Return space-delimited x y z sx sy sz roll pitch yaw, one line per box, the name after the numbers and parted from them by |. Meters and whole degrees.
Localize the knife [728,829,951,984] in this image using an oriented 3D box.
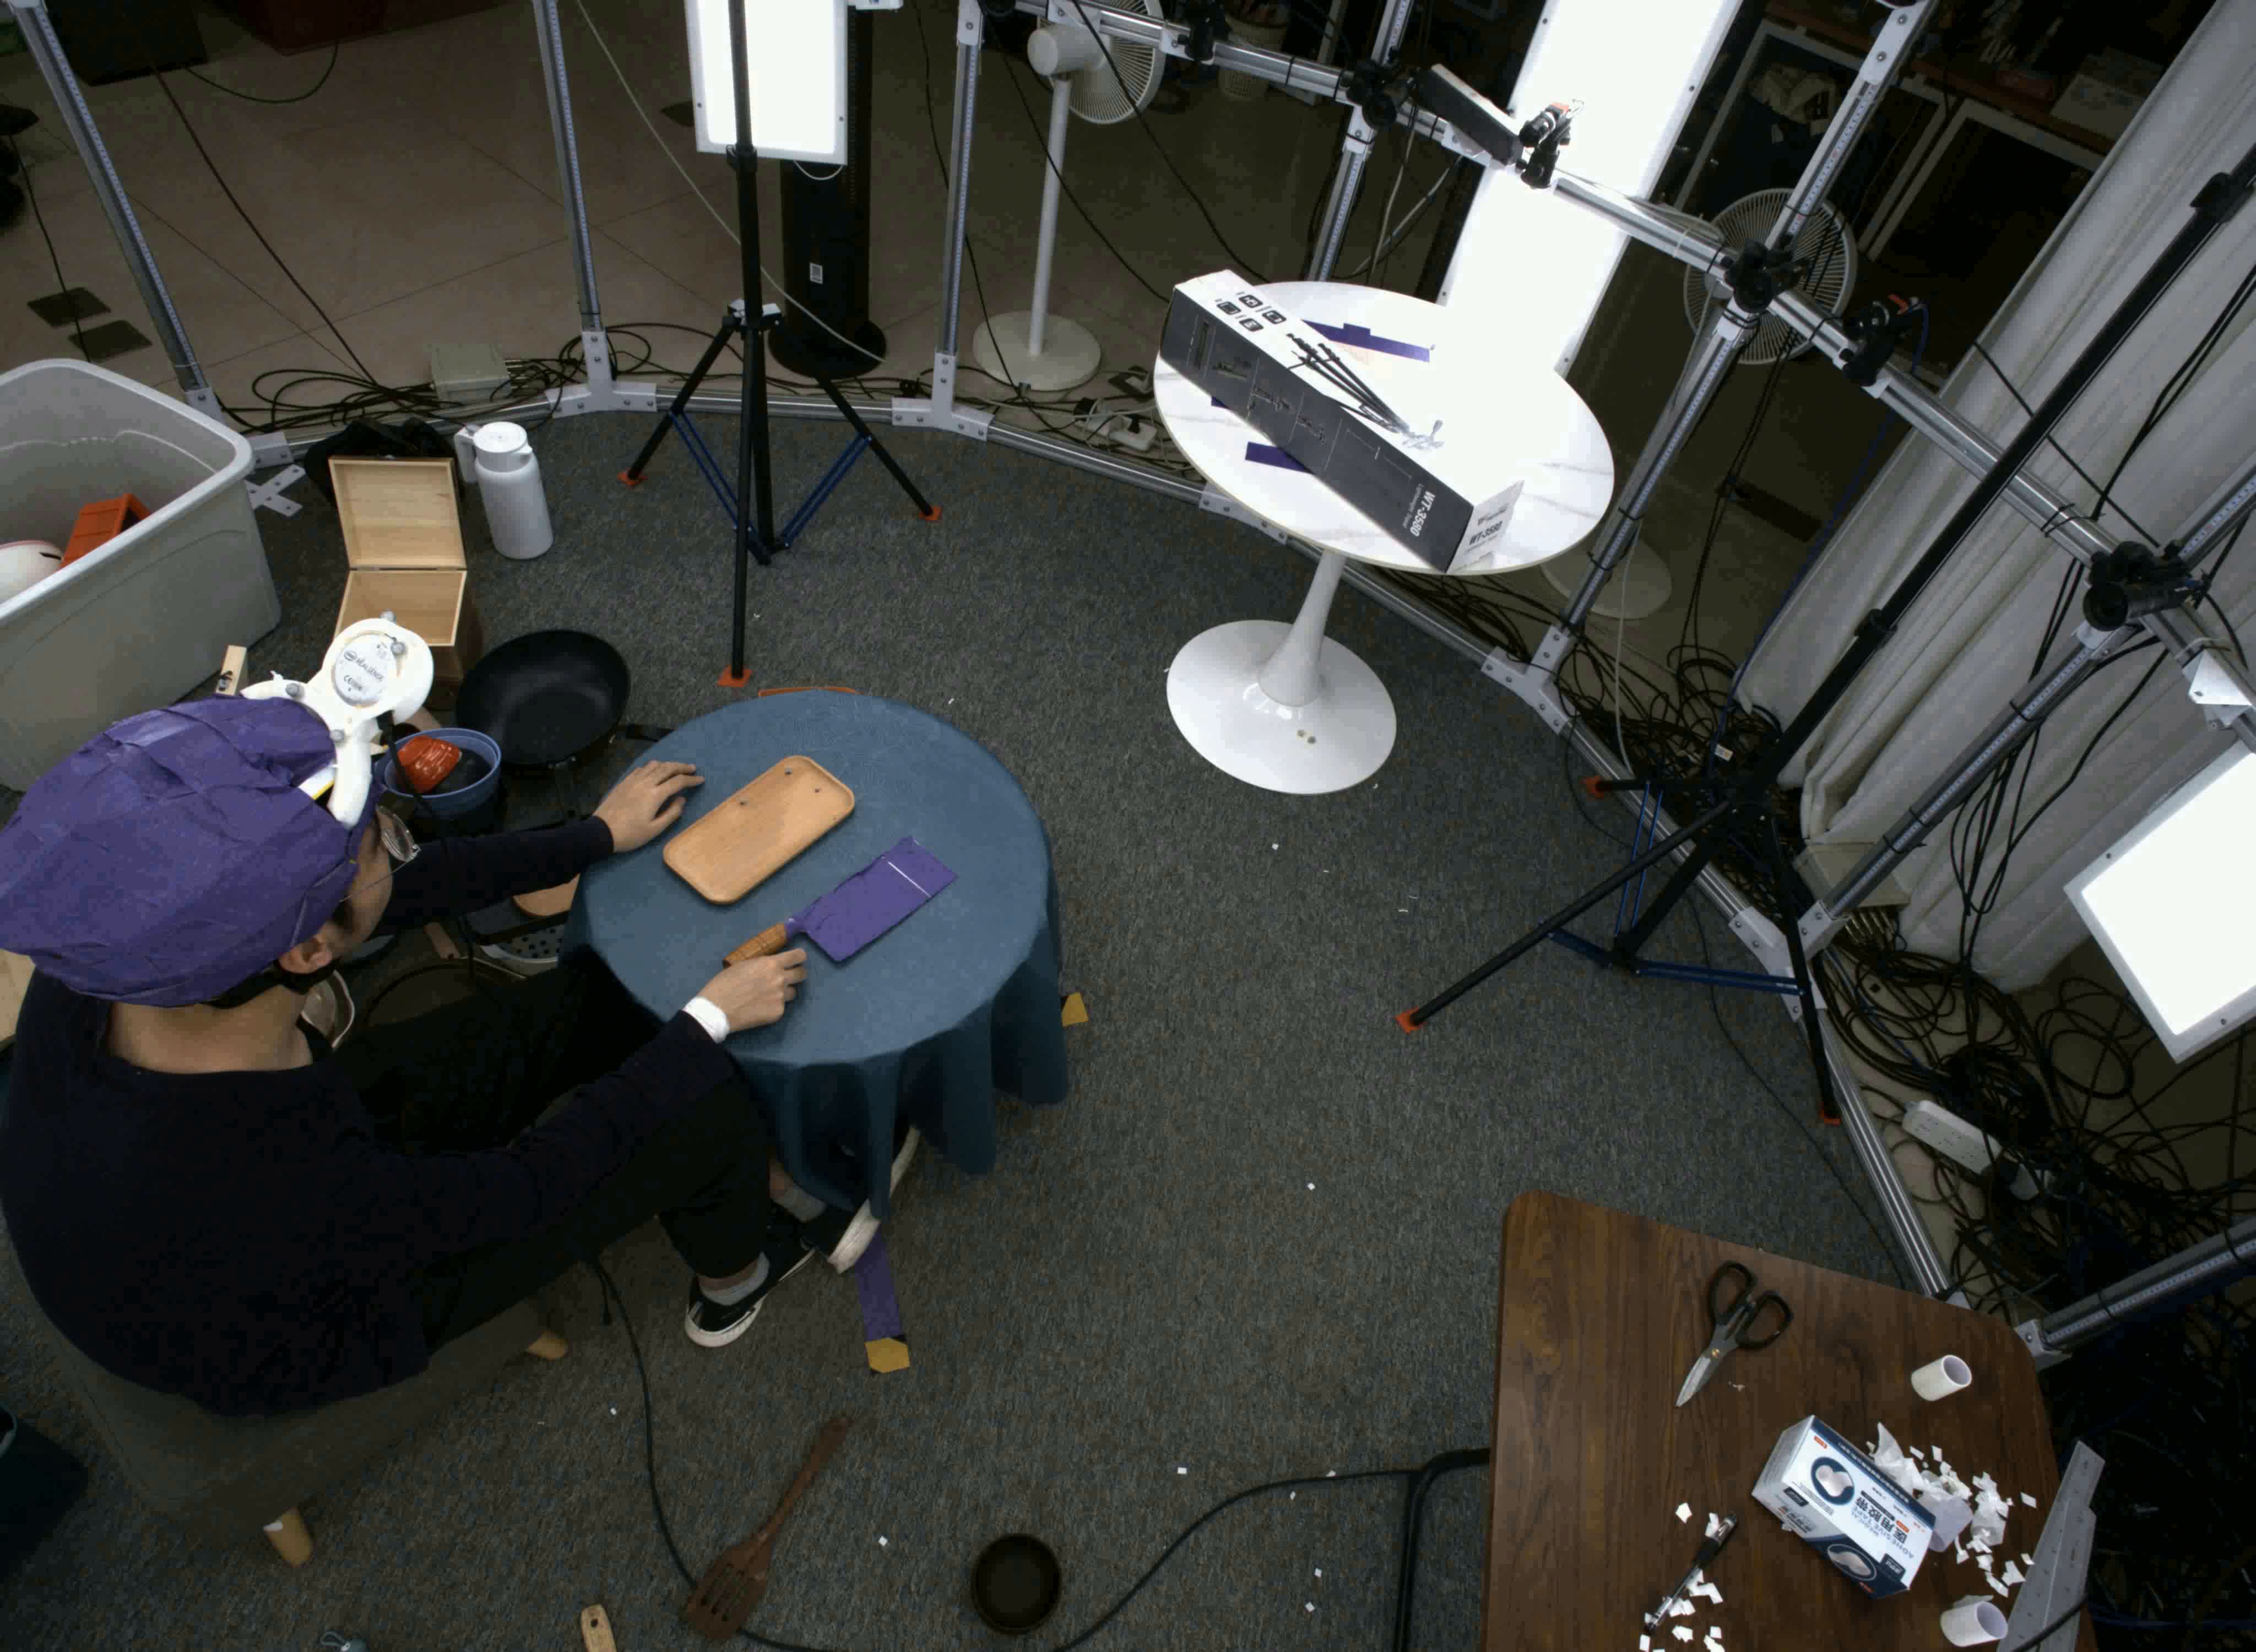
-0.357 0.112 1.652 0.102 0.033 0.315 39 54 15 | knife

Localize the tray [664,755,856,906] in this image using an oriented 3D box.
-0.483 0.002 1.708 0.127 0.023 0.251 38 55 17 | tray
